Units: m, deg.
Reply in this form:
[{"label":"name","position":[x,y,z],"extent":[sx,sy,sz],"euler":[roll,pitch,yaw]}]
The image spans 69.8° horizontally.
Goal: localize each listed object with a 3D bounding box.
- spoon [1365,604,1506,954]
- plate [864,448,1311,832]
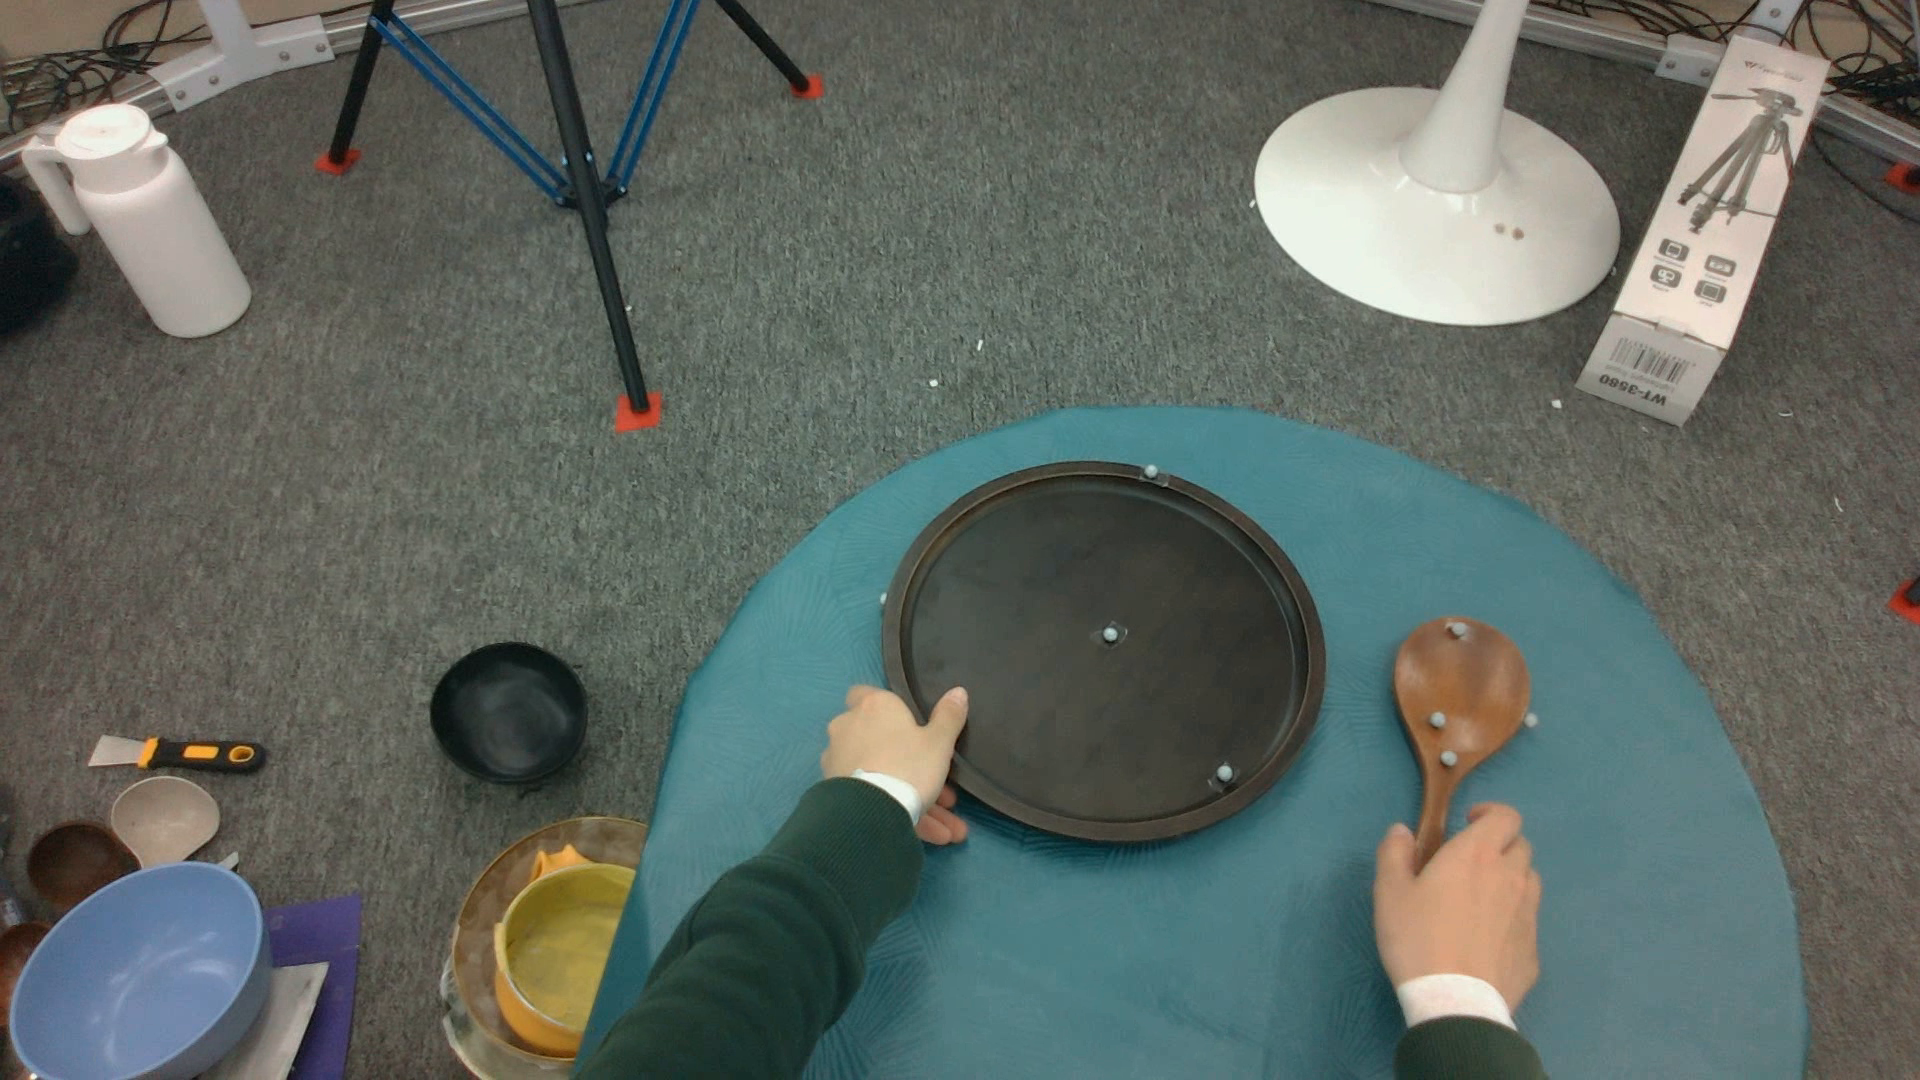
[{"label":"spoon","position":[0.250,0.124,0.747],"extent":[0.075,0.017,0.217],"euler":[18,55,10]},{"label":"plate","position":[0.072,0.051,0.789],"extent":[0.255,0.029,0.256],"euler":[1,53,-1]}]
